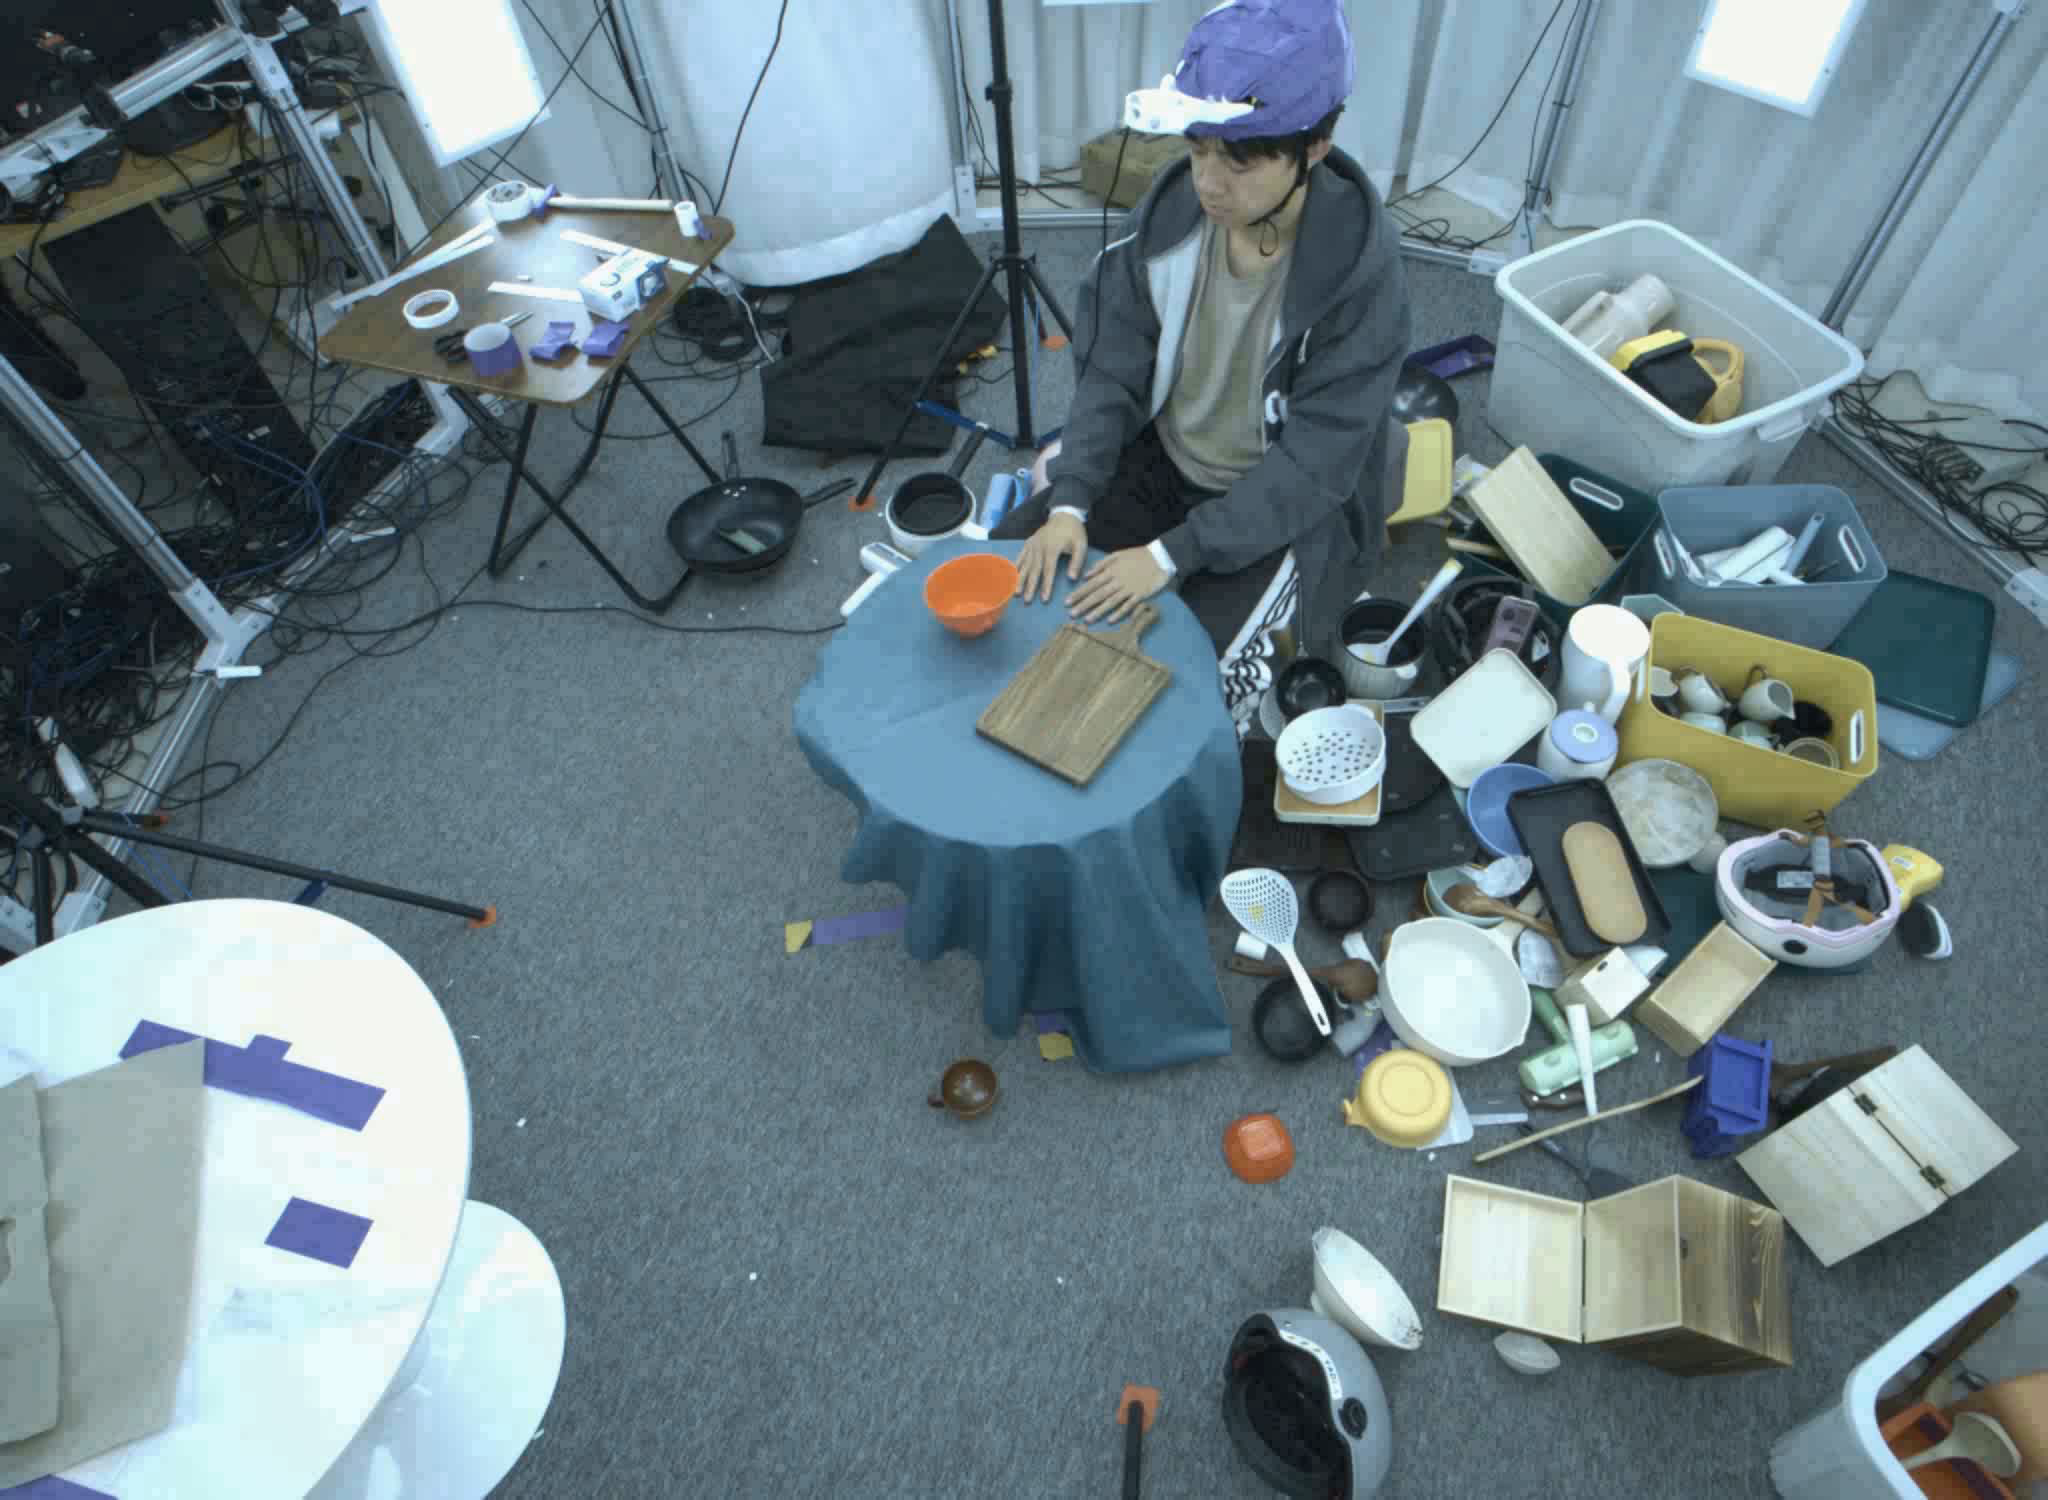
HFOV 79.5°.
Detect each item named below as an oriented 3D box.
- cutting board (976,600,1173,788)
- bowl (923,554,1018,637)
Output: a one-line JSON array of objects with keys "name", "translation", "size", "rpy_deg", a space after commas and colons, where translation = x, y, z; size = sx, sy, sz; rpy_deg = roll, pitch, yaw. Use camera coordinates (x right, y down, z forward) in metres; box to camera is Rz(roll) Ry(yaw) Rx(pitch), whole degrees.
[{"name": "cutting board", "translation": [0.105, -0.107, 1.850], "size": [0.198, 0.023, 0.353], "rpy_deg": [28, 60, 20]}, {"name": "bowl", "translation": [-0.080, -0.225, 1.891], "size": [0.148, 0.106, 0.146], "rpy_deg": [-1, 55, 2]}]
